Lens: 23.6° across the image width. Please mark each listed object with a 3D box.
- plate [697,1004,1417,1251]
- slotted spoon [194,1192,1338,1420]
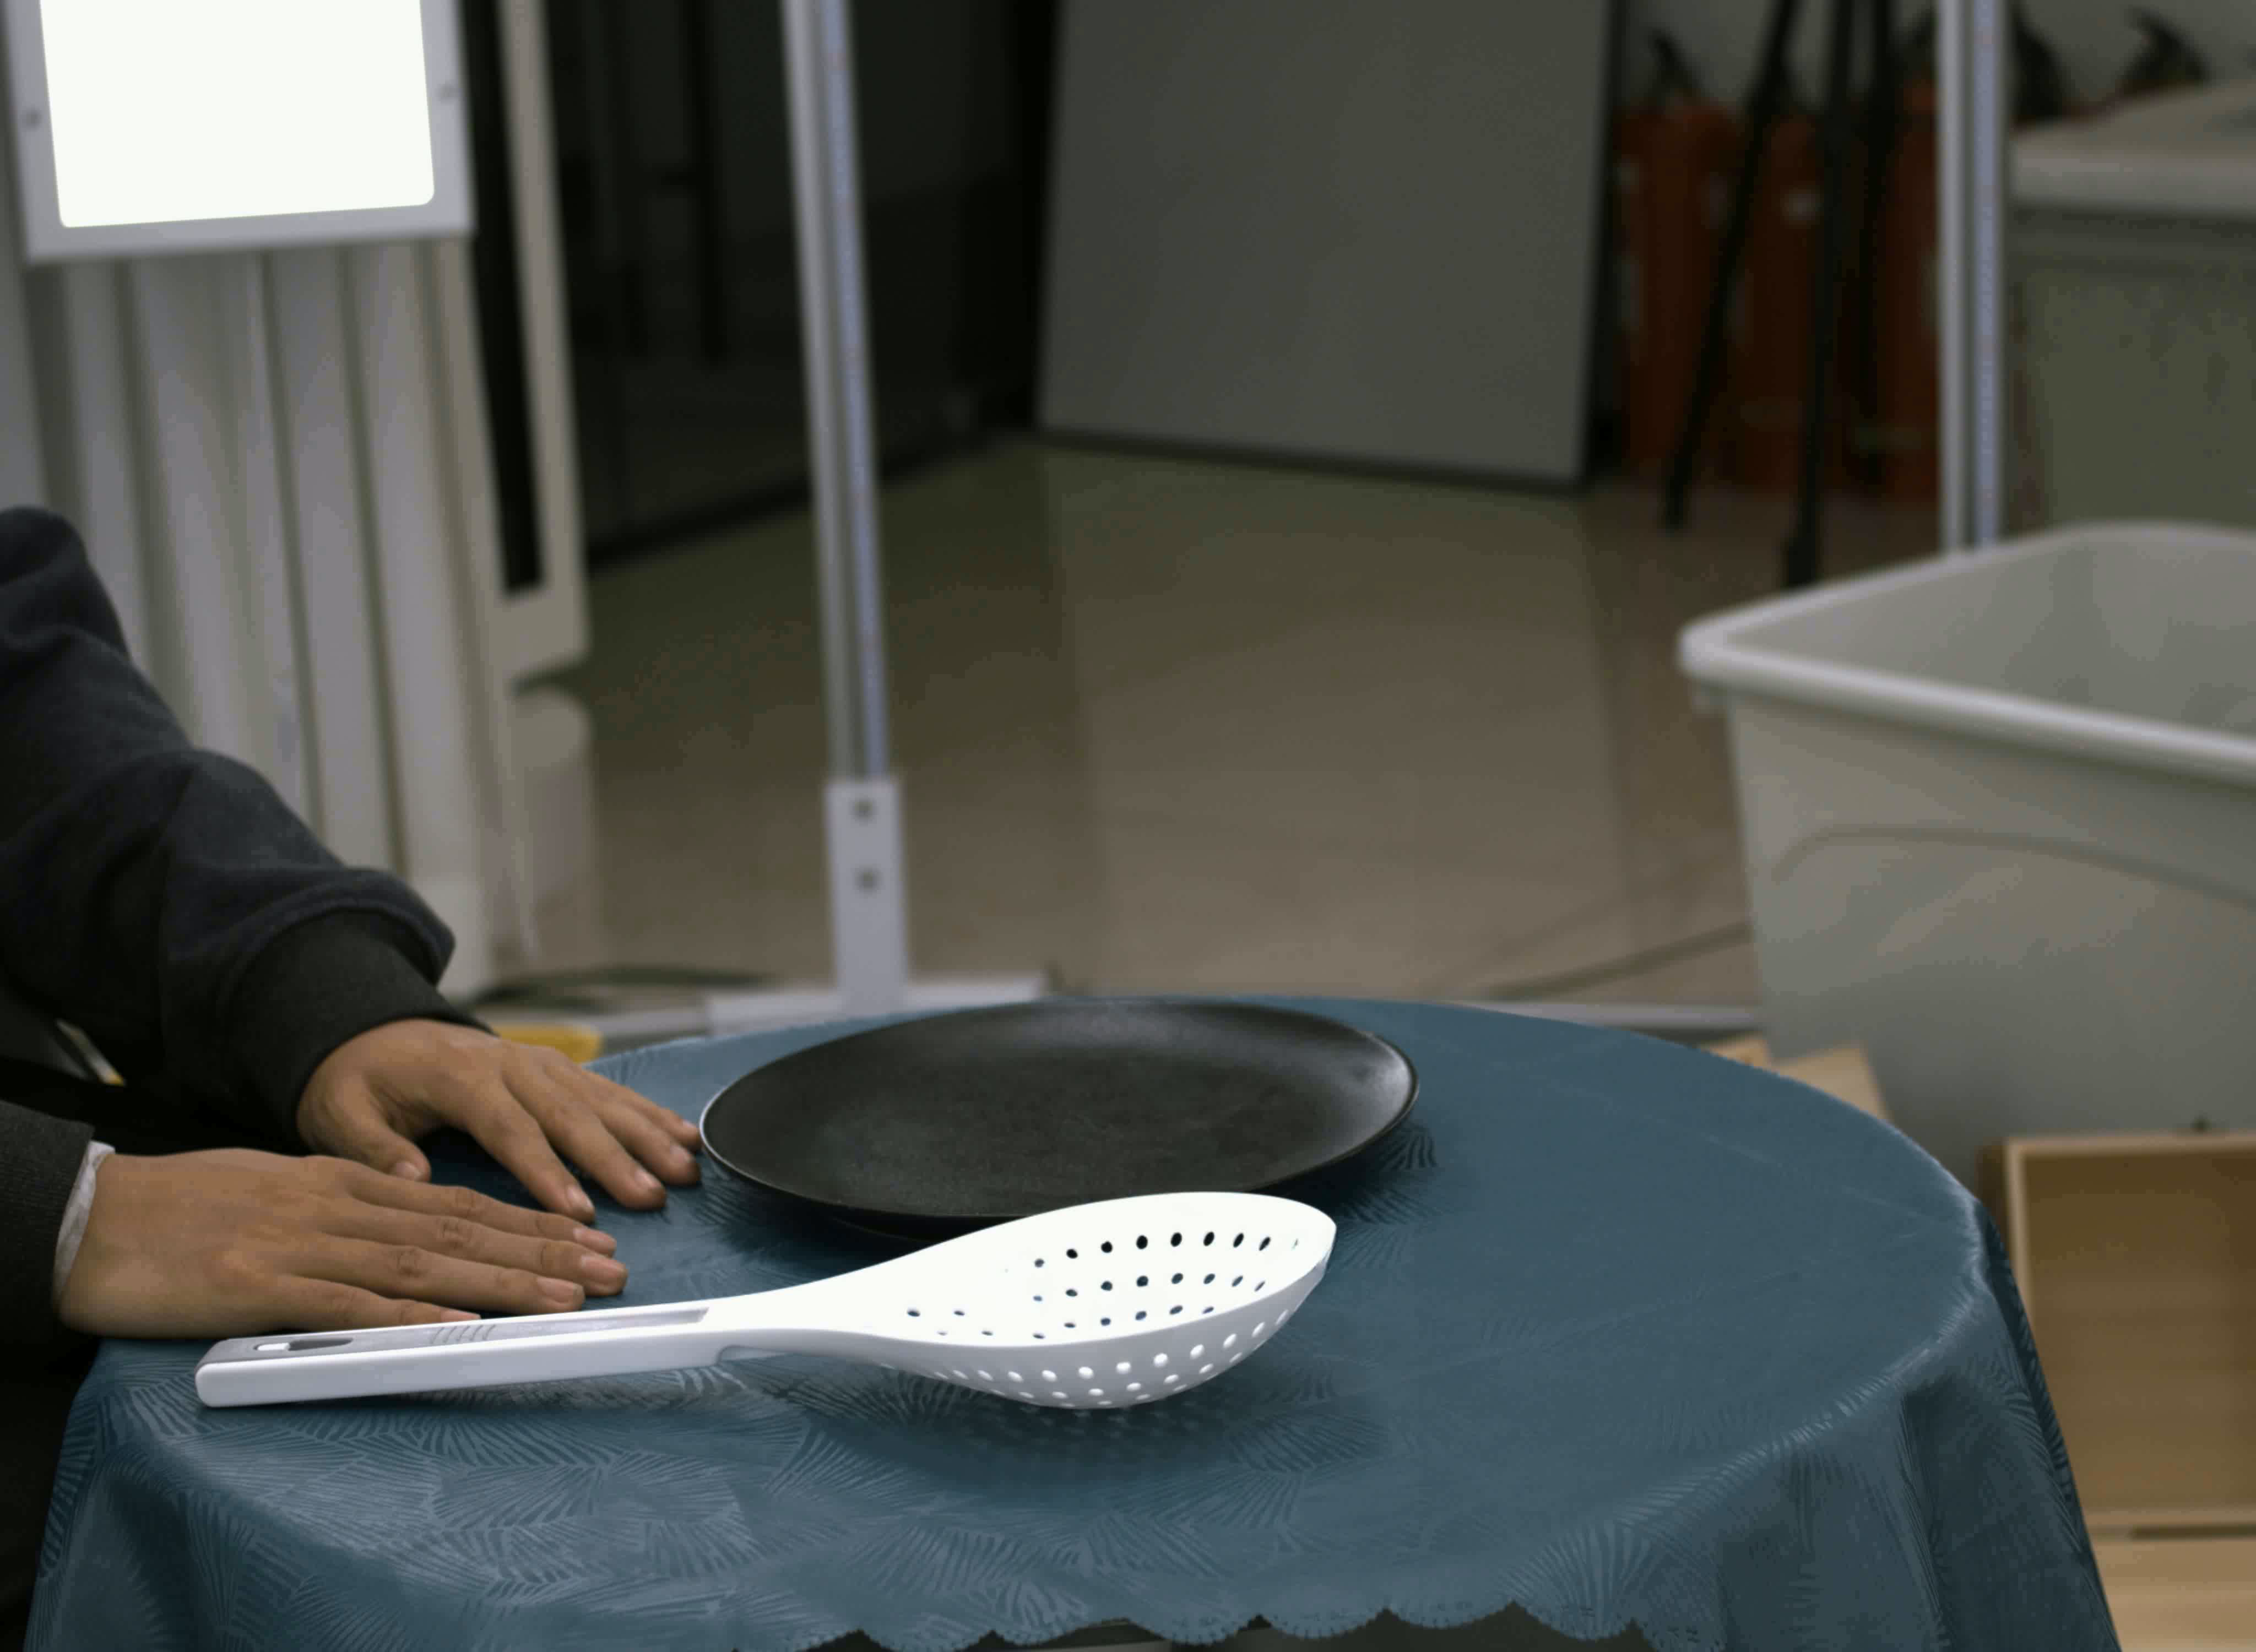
[{"bbox_3d":[-0.023,0.103,1.801,0.241,0.024,0.245,-4,14,0],"label":"plate"},{"bbox_3d":[-0.108,0.148,1.594,0.347,0.046,0.135,-3,12,10],"label":"slotted spoon"}]
